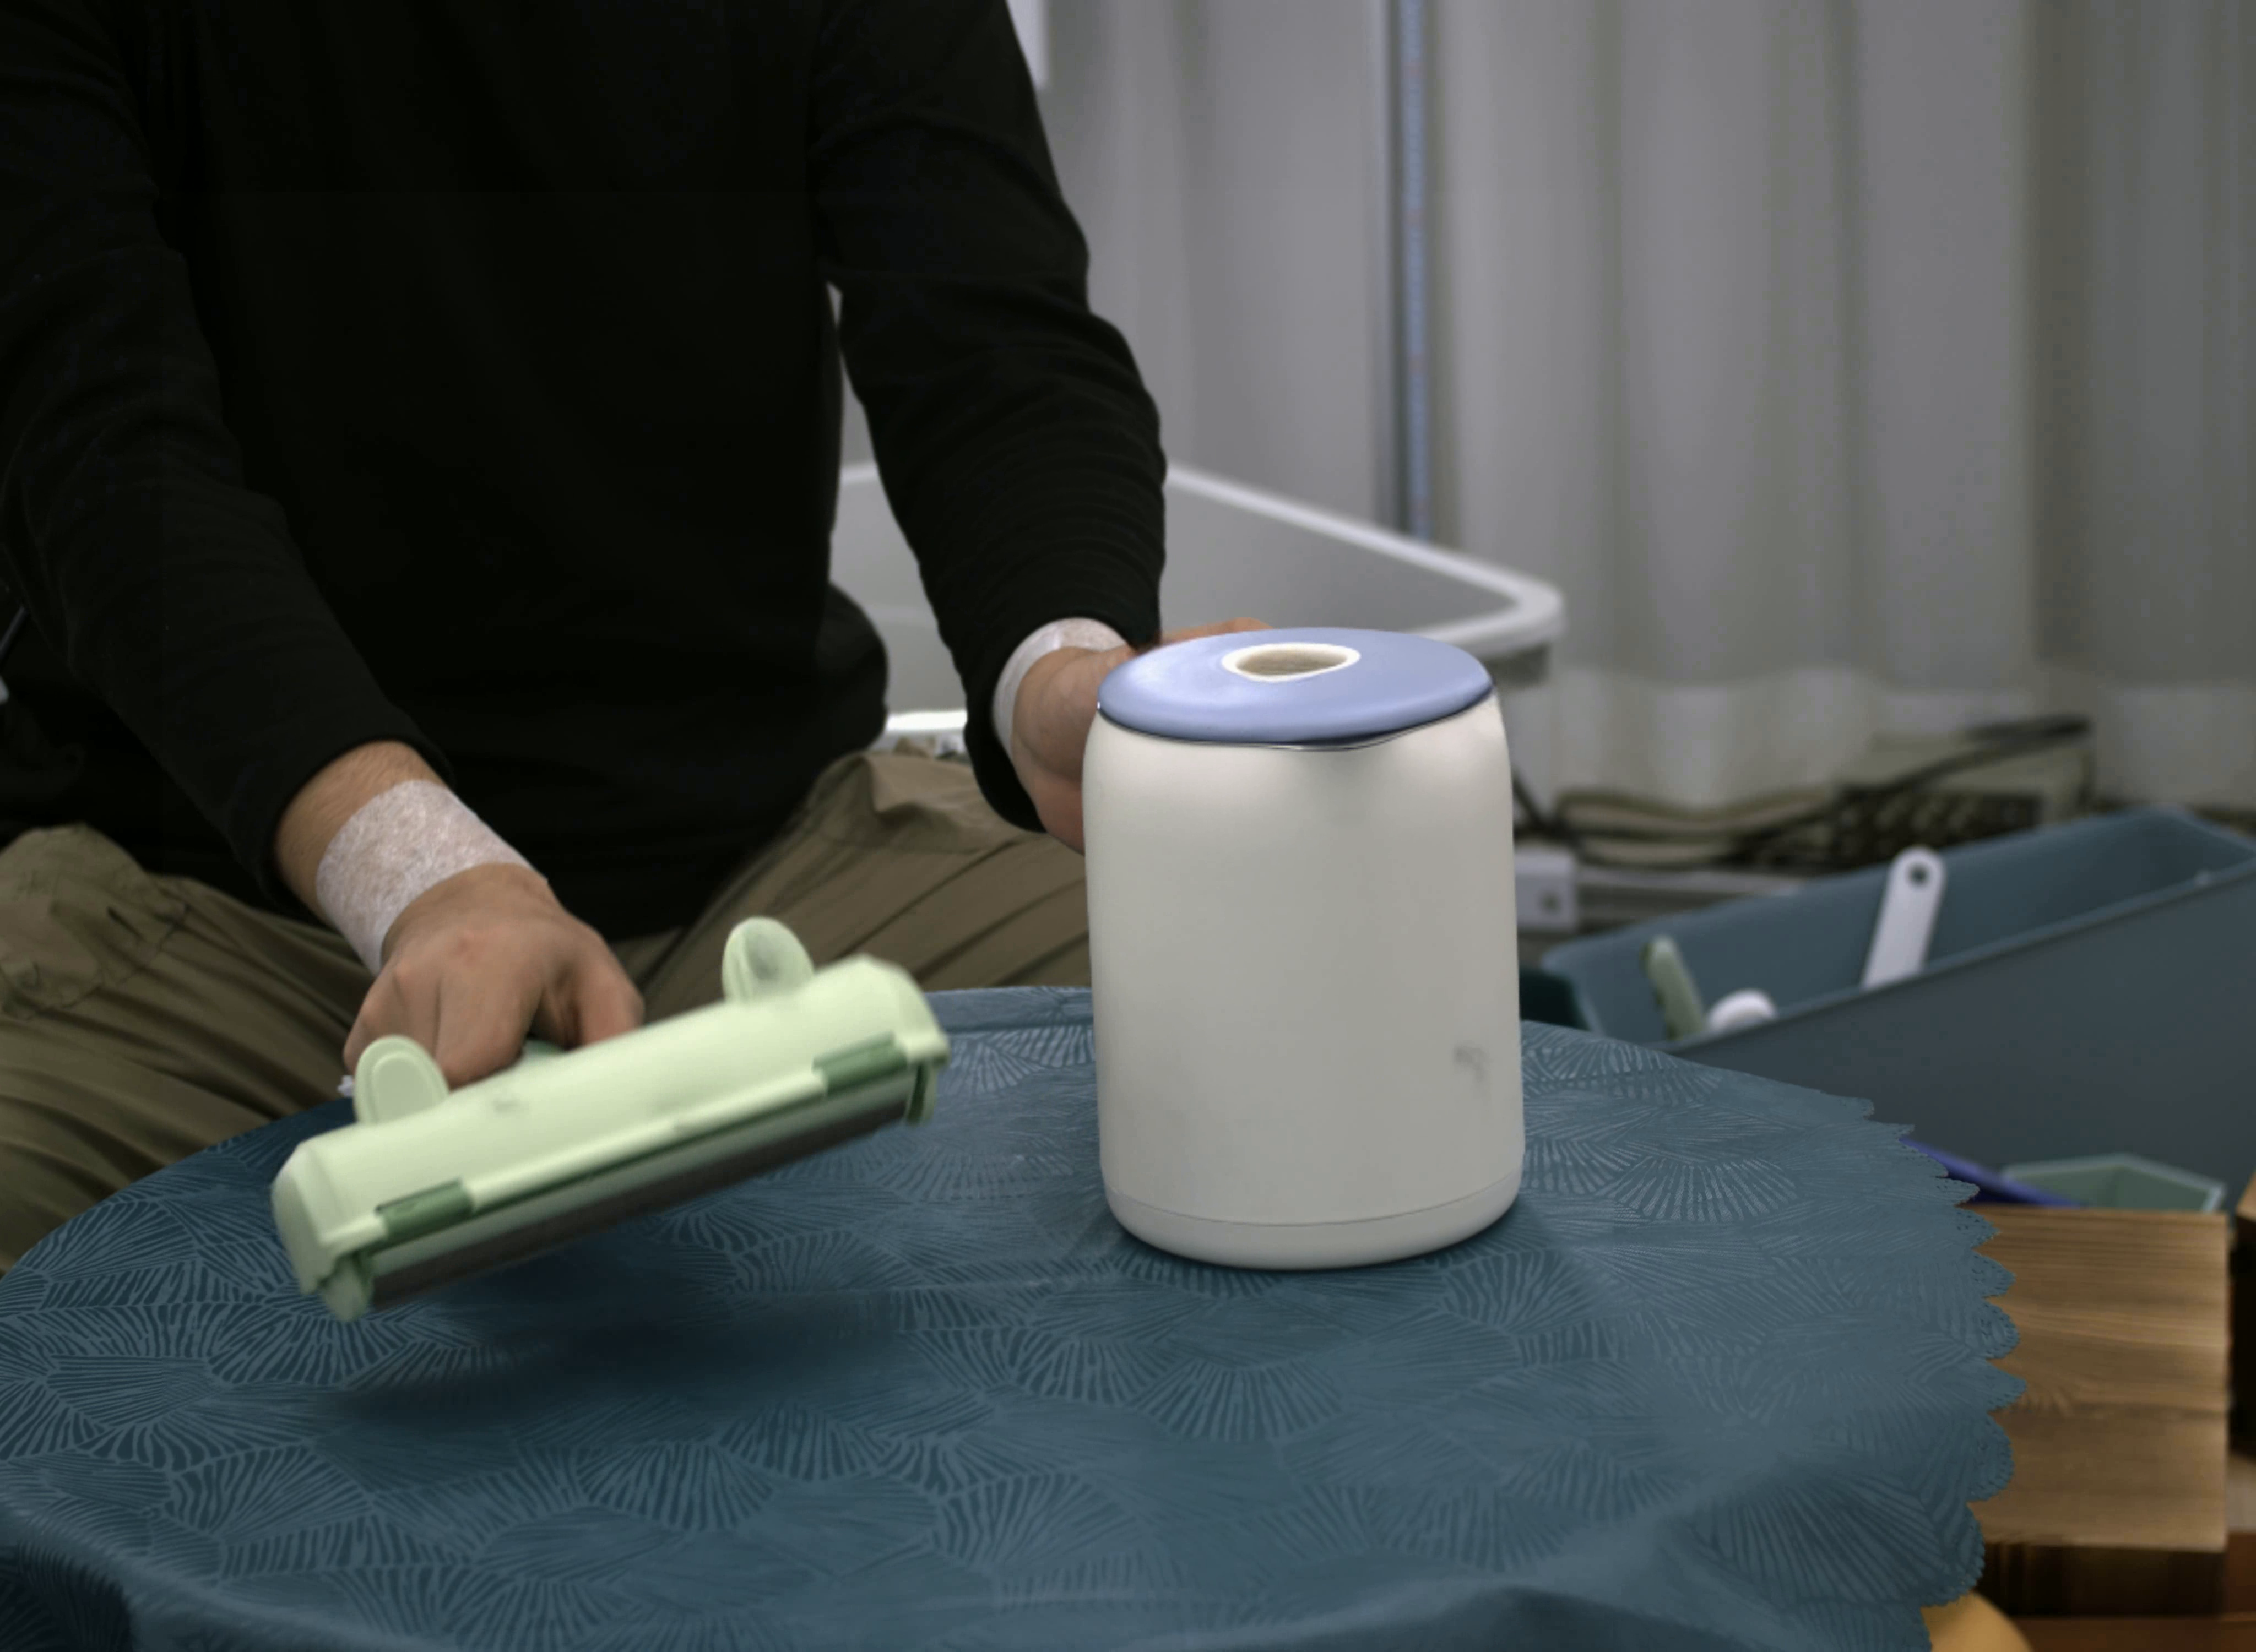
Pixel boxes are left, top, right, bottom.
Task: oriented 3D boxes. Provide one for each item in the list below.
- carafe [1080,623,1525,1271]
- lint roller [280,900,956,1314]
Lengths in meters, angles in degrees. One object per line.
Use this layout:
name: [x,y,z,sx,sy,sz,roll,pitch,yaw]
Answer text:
carafe: [0.047,0.030,1.691,0.131,0.182,0.192,-5,12,-13]
lint roller: [-0.172,0.068,1.632,0.198,0.082,0.185,-19,20,-21]
